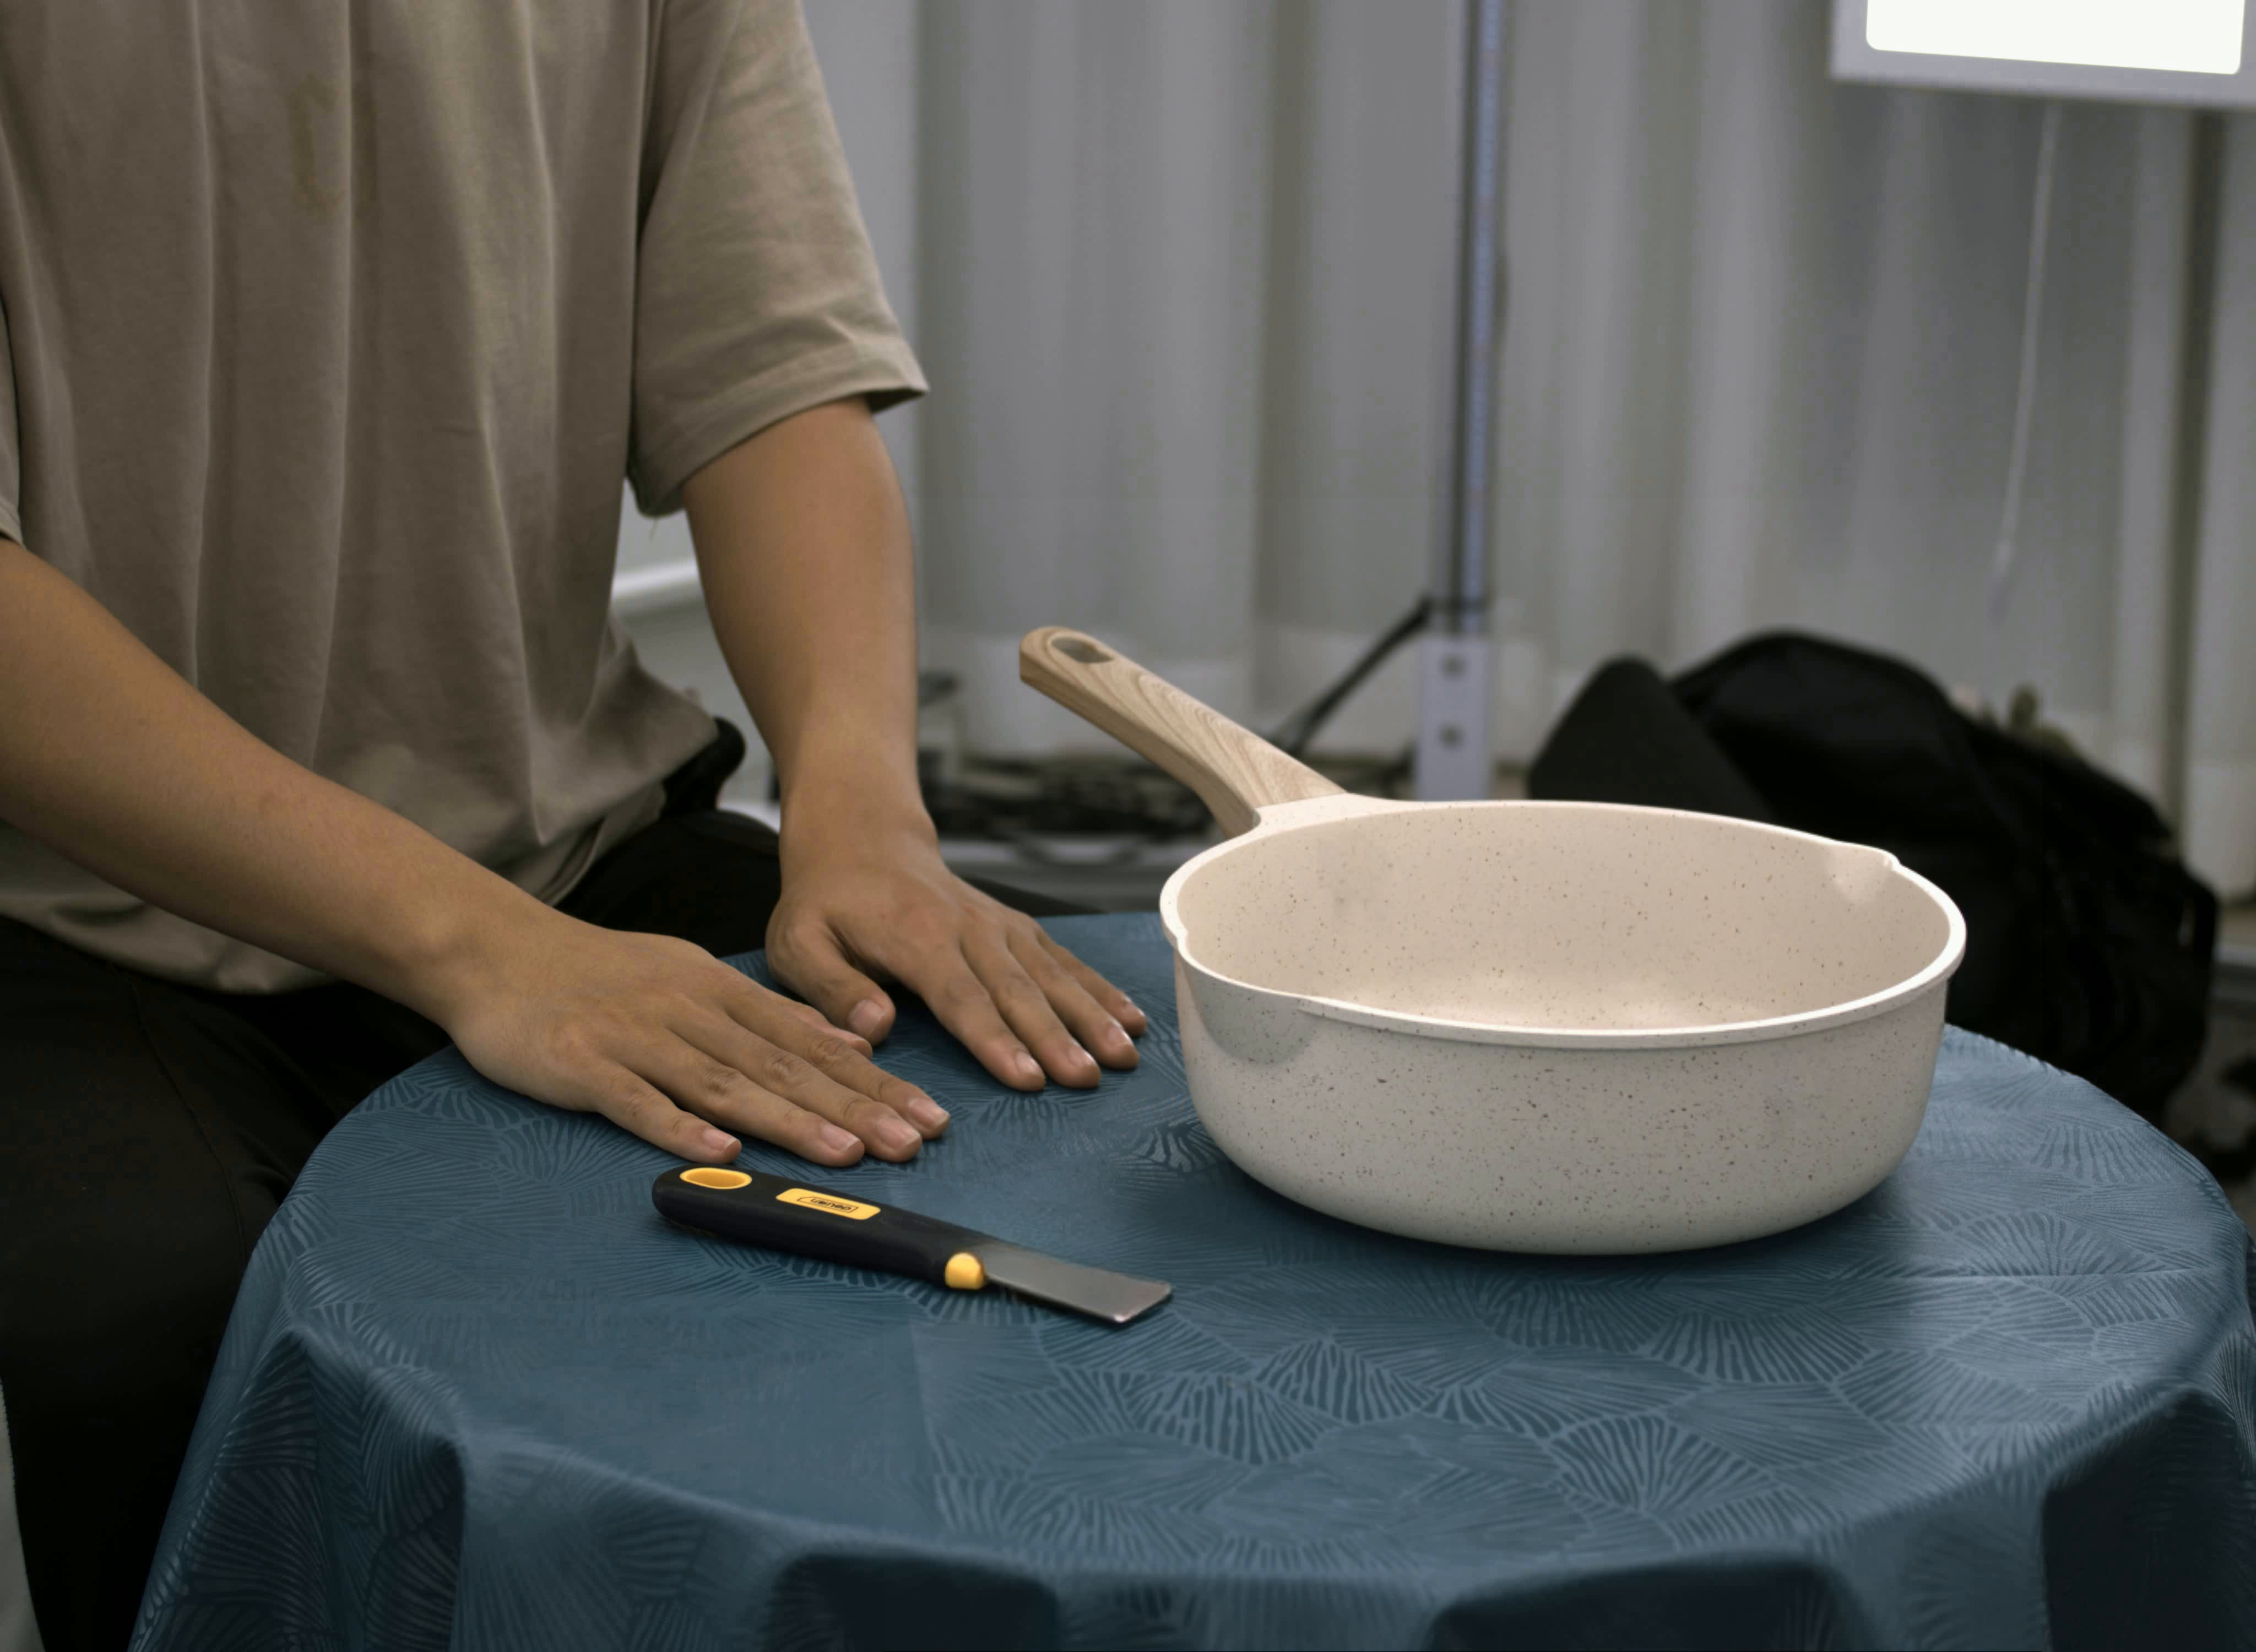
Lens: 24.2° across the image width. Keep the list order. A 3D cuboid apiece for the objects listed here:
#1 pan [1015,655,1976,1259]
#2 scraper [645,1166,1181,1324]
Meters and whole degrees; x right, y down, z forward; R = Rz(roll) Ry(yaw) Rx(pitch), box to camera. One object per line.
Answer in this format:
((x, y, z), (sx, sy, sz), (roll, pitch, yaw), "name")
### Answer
((0.089, 0.036, 1.727), (0.264, 0.103, 0.429), (-12, 20, -31), "pan")
((-0.067, 0.124, 1.554), (0.169, 0.015, 0.039), (10, 22, 24), "scraper")
